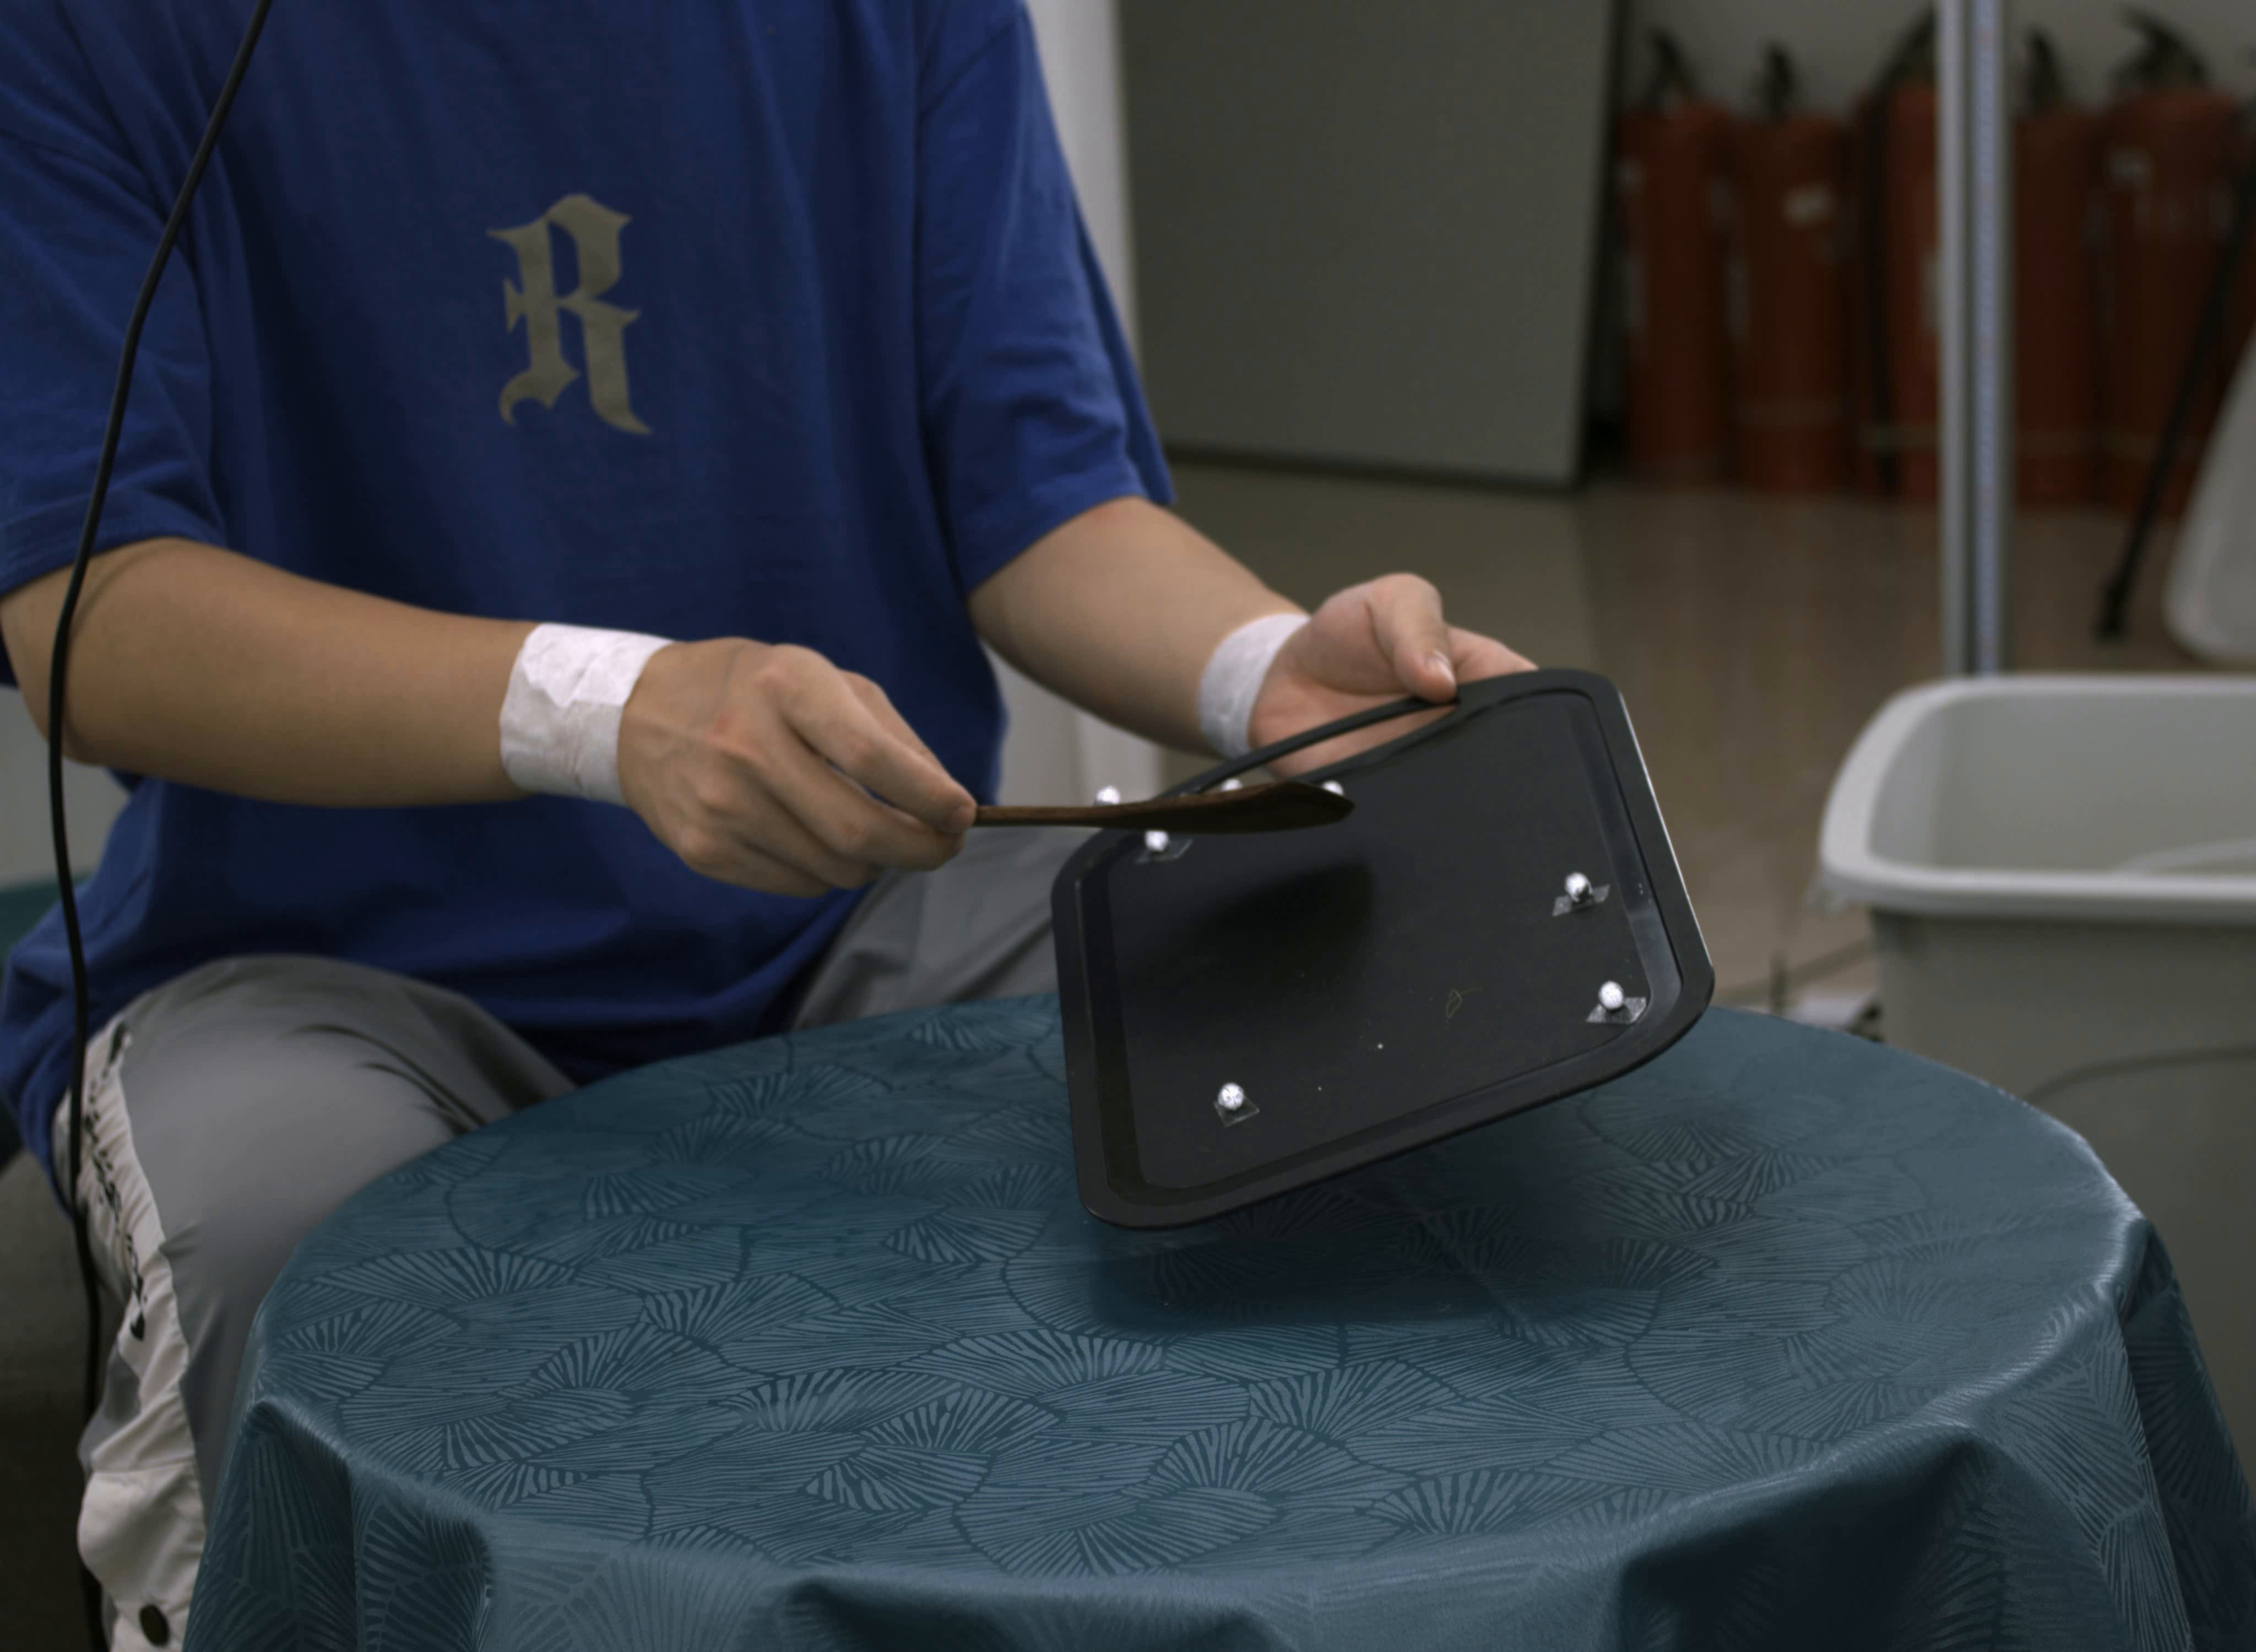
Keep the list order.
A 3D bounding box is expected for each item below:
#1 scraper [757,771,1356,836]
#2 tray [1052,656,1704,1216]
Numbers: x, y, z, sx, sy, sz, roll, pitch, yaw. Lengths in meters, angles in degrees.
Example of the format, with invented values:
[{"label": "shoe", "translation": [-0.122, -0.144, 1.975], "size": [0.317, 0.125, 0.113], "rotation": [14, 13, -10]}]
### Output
[{"label": "scraper", "translation": [-0.028, -0.004, 1.811], "size": [0.211, 0.011, 0.075], "rotation": [-2, -11, 24]}, {"label": "tray", "translation": [0.074, 0.026, 1.765], "size": [0.210, 0.010, 0.327], "rotation": [-21, 23, 7]}]
